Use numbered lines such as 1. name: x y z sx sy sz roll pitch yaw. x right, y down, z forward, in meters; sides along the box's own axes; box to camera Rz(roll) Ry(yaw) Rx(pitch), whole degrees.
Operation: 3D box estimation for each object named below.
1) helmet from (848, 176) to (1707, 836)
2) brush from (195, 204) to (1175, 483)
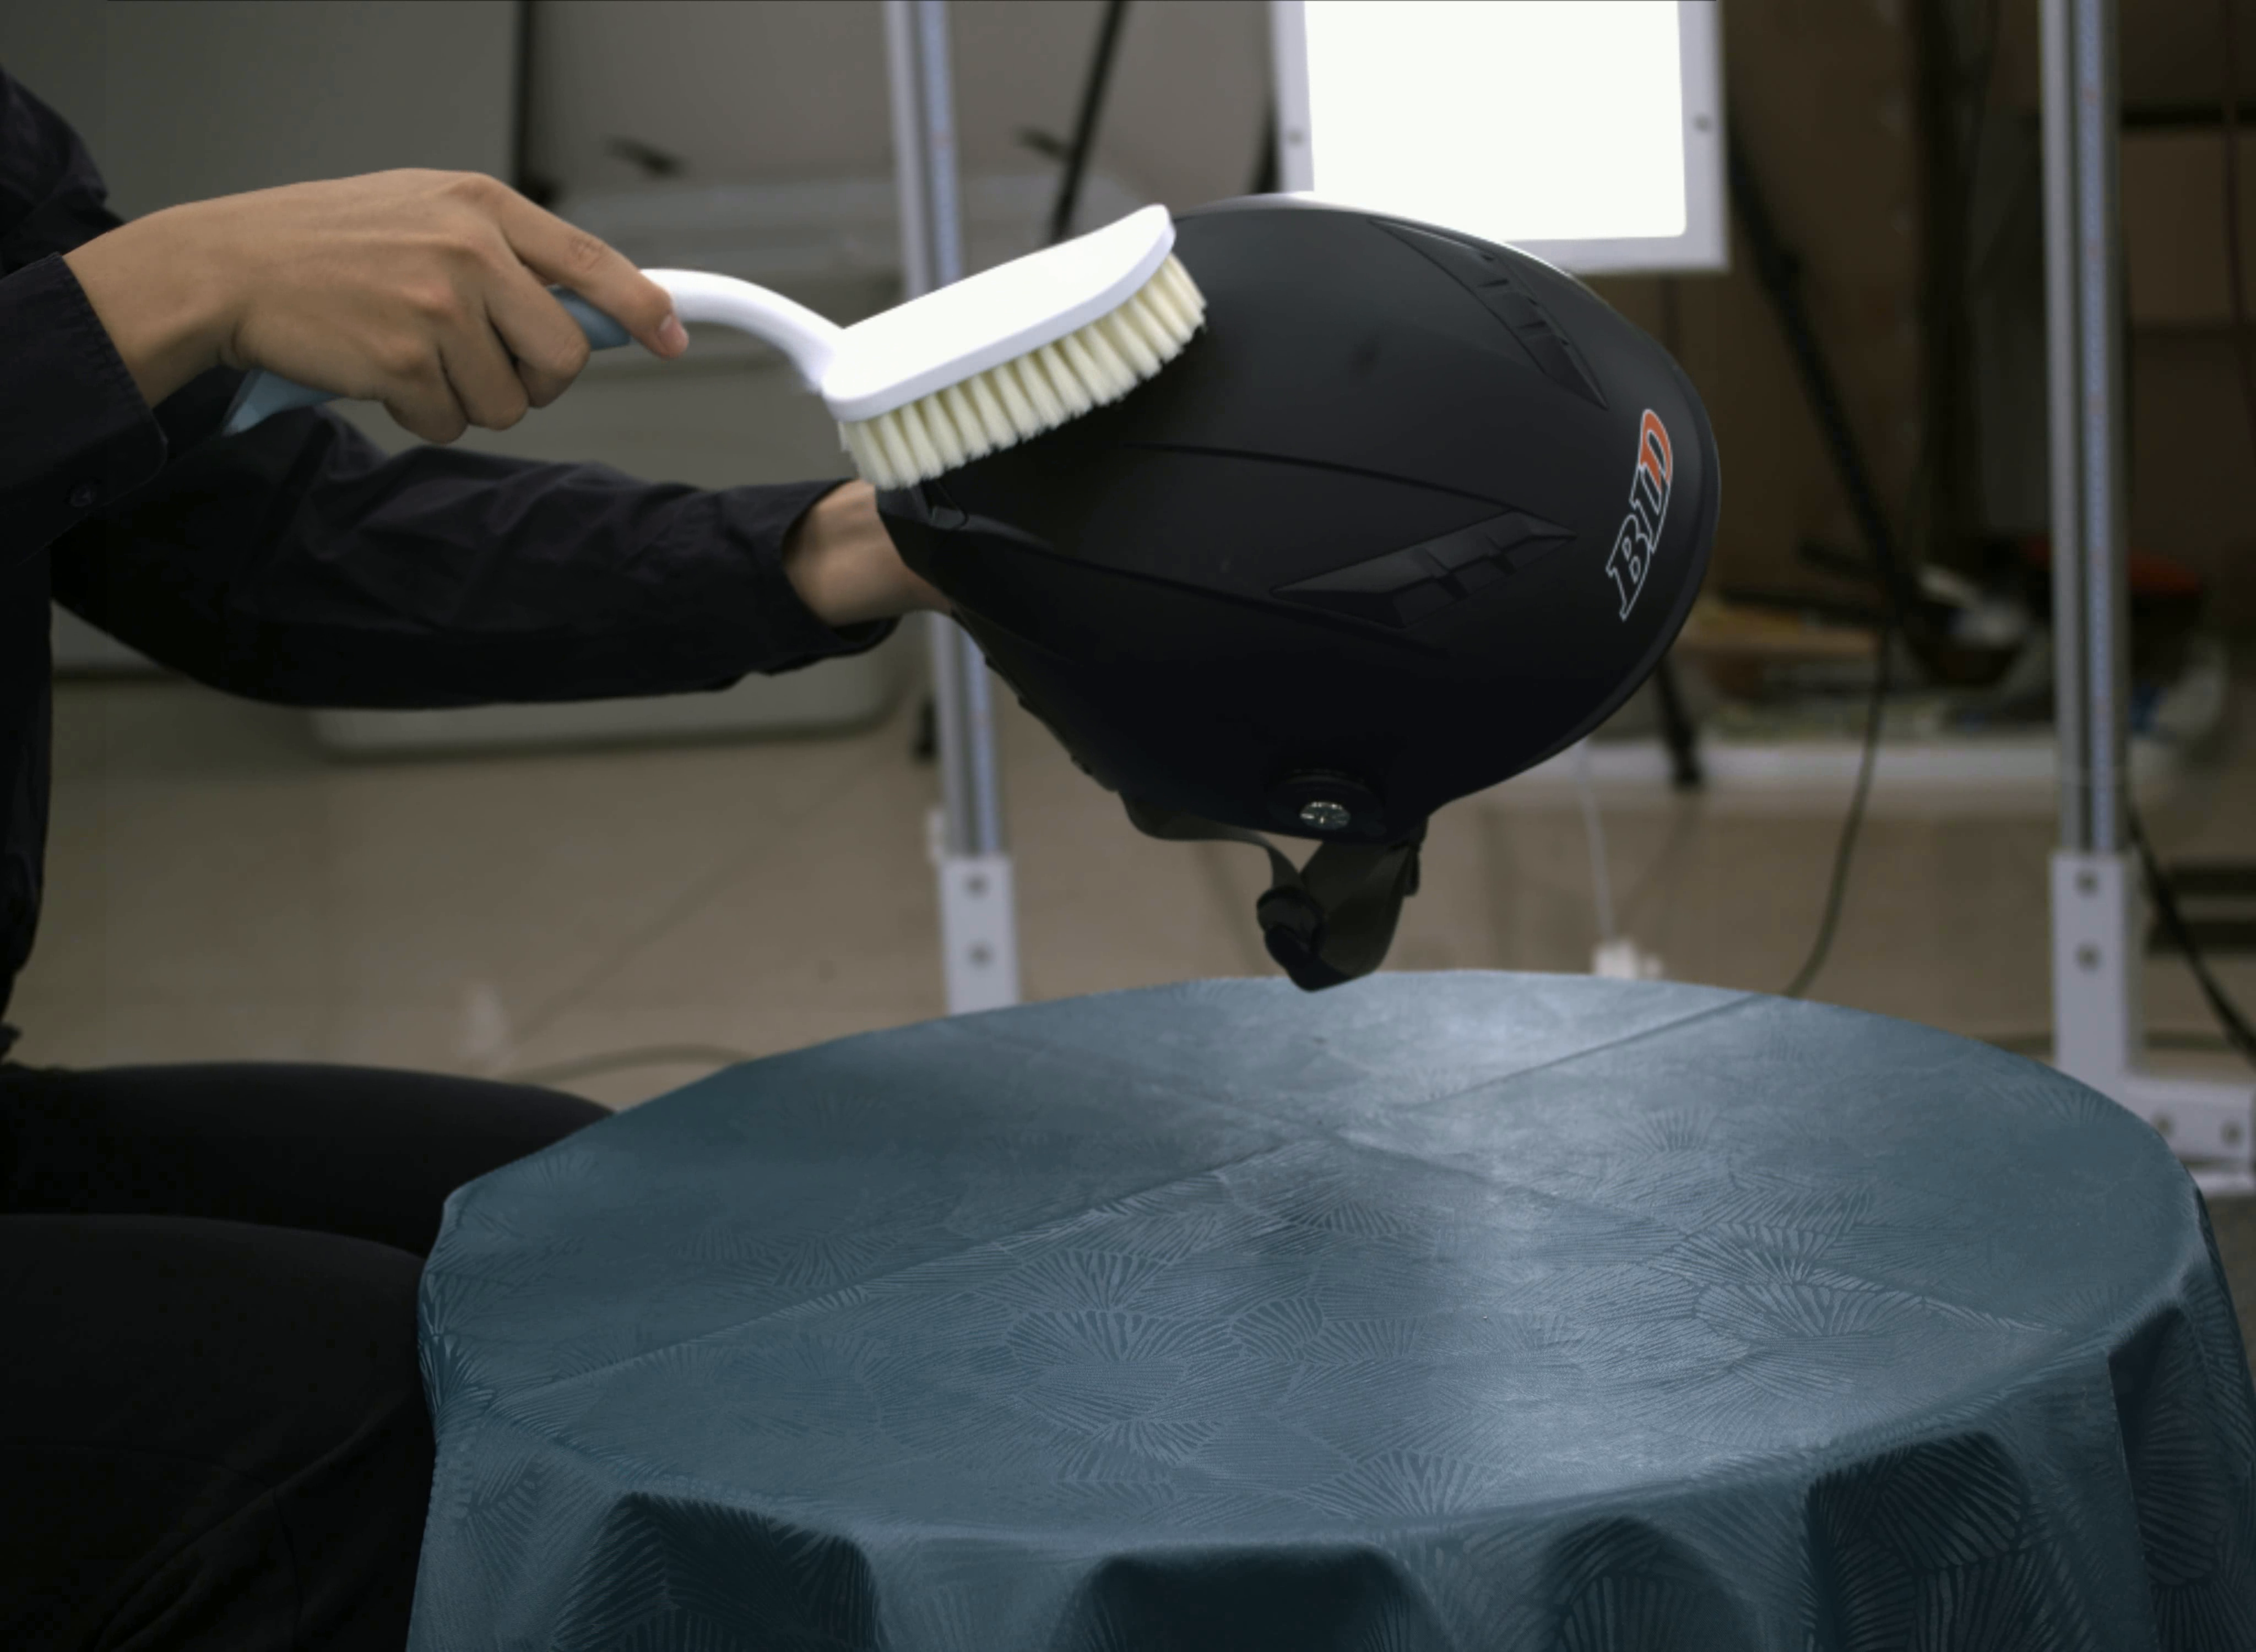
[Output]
1. helmet: 0.047 -0.127 1.889 0.282 0.245 0.170 3 -22 33
2. brush: -0.143 -0.141 1.825 0.324 0.085 0.083 -11 -12 -1
